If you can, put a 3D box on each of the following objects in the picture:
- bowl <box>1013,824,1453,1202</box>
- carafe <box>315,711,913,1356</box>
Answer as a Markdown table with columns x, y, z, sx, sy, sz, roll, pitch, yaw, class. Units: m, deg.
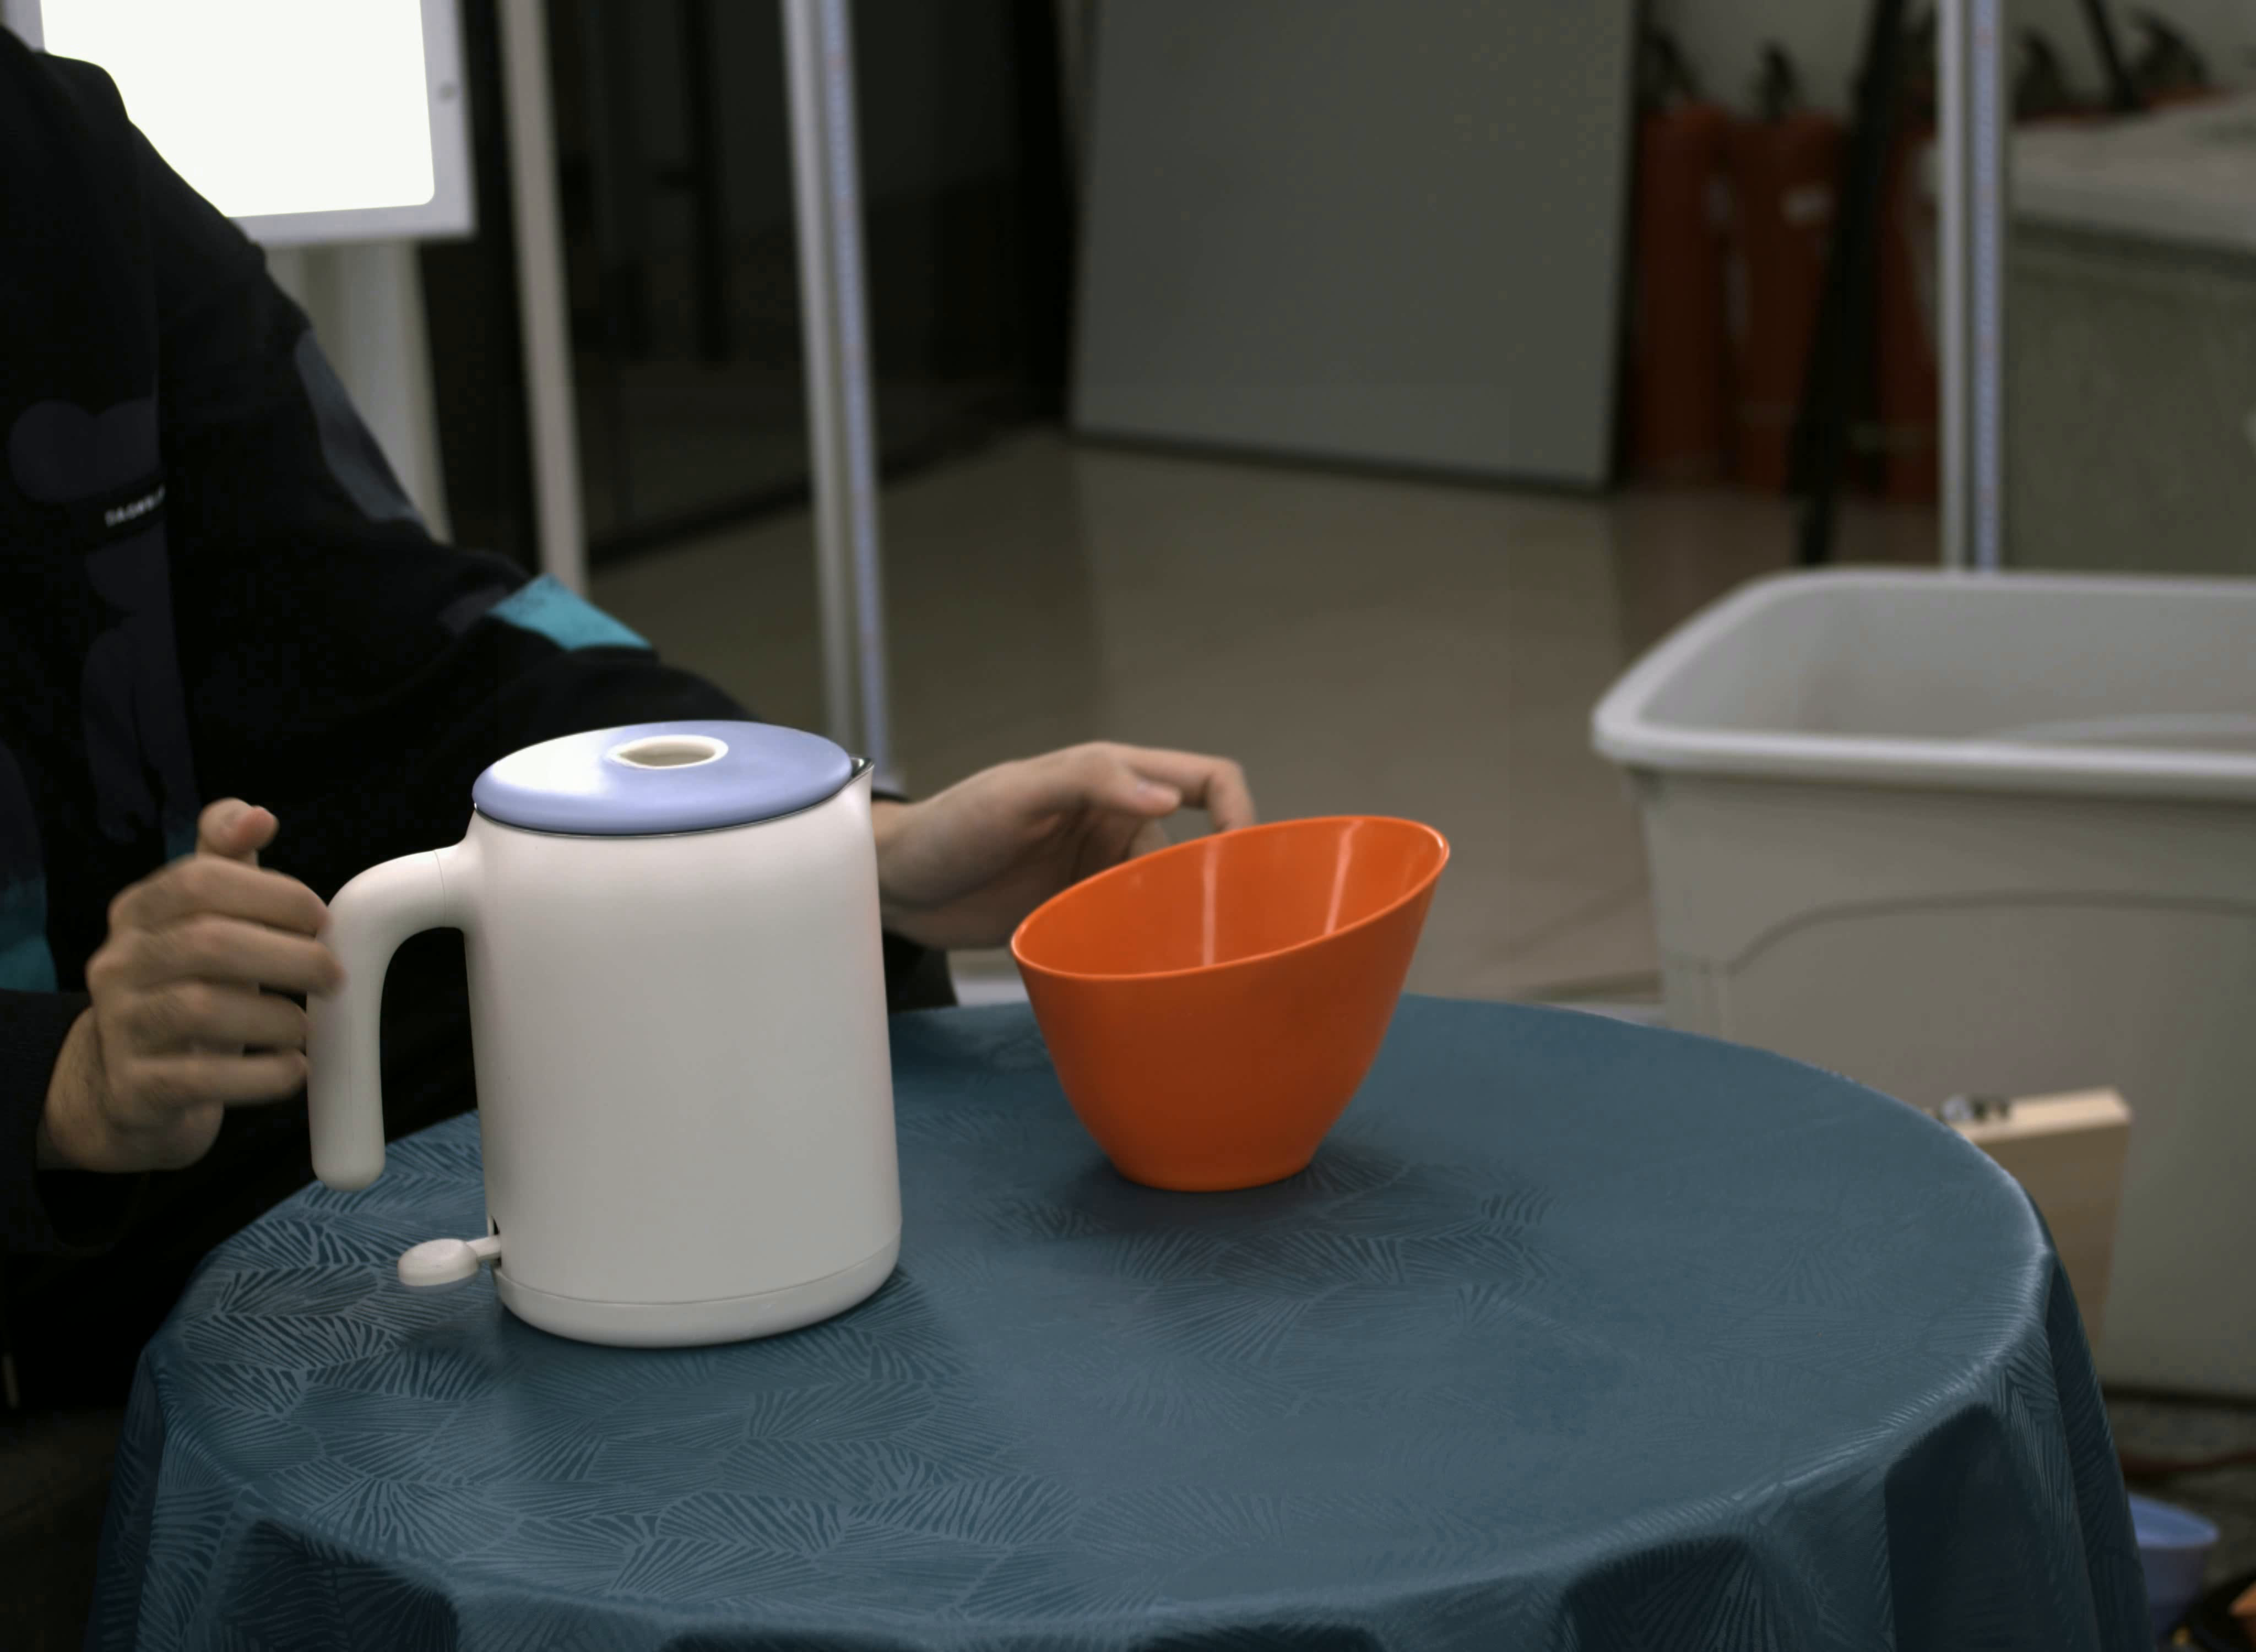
| x | y | z | sx | sy | sz | roll | pitch | yaw | class |
| --- | --- | --- | --- | --- | --- | --- | --- | --- | --- |
| 0.036 | 0.064 | 1.781 | 0.146 | 0.106 | 0.148 | -3 | 14 | 0 | bowl |
| -0.160 | 0.068 | 1.678 | 0.187 | 0.184 | 0.133 | -11 | 14 | -18 | carafe |
